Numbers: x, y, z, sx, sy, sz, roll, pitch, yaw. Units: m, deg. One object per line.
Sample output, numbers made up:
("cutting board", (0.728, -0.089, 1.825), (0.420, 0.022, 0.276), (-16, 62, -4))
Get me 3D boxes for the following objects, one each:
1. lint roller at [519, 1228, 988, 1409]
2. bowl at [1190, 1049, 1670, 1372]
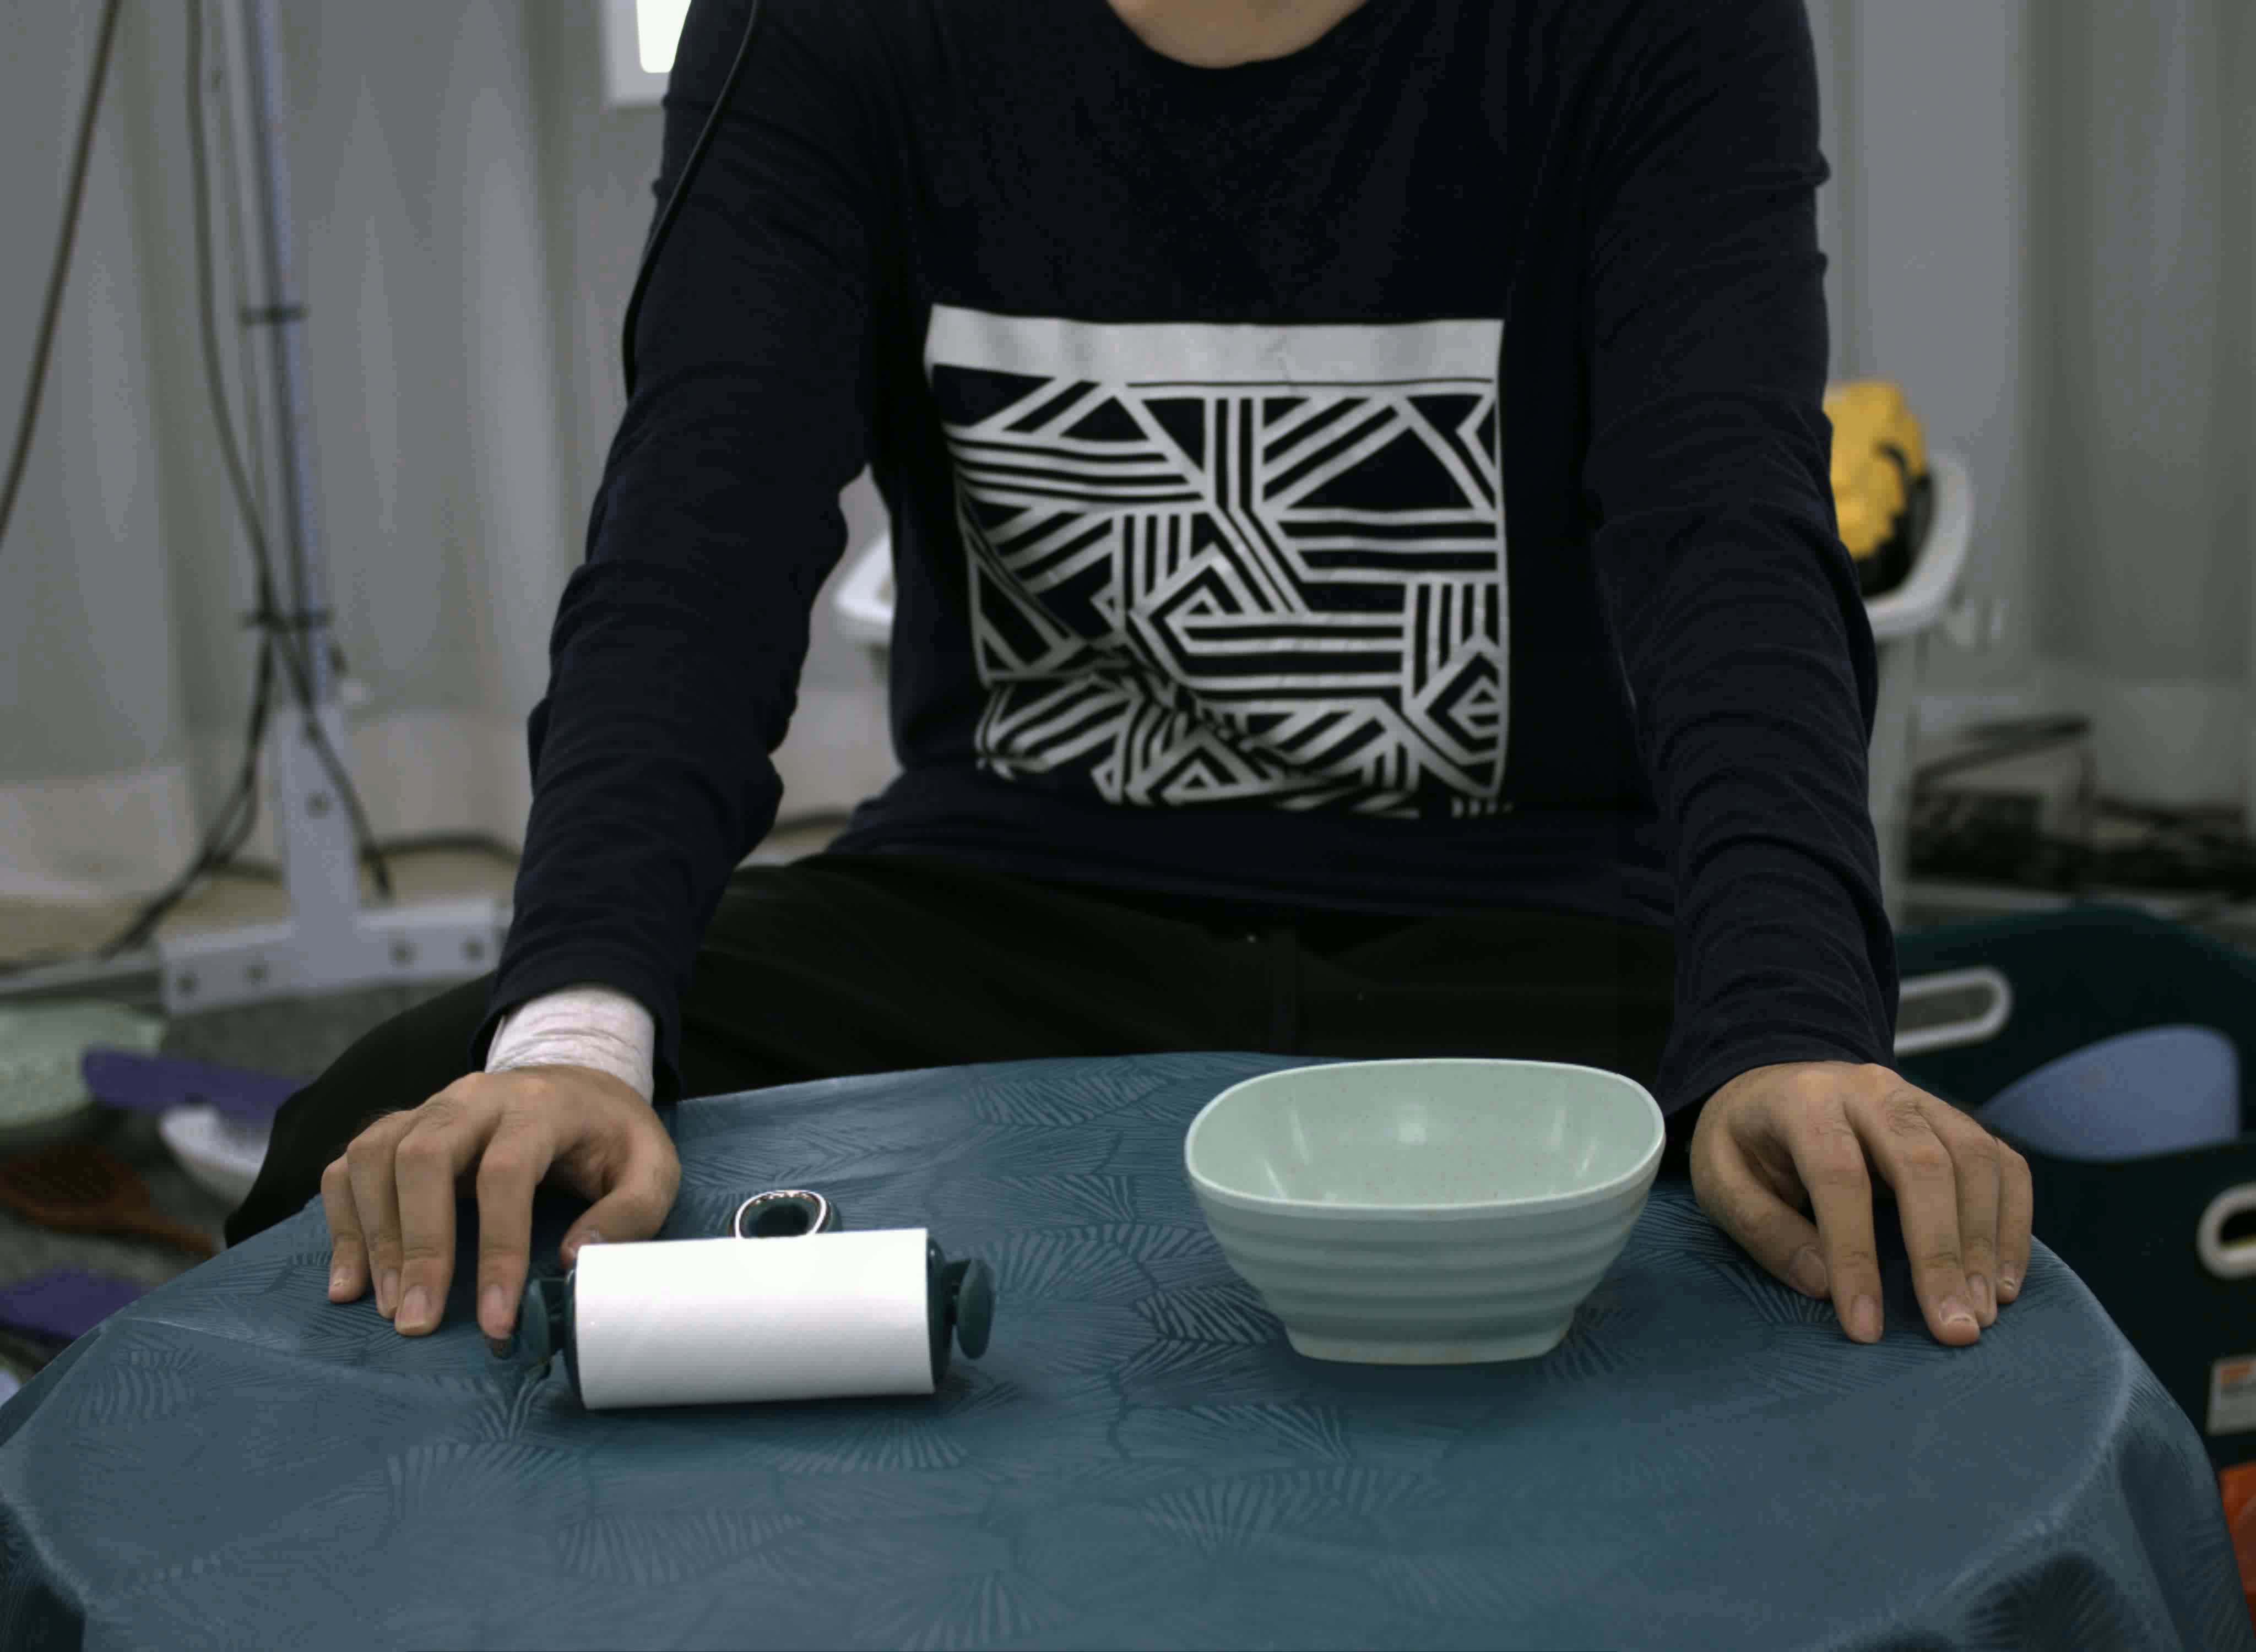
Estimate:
("lint roller", (-0.107, 0.127, 1.616), (0.134, 0.048, 0.181), (-3, 11, 0))
("bowl", (0.089, 0.115, 1.588), (0.151, 0.058, 0.152), (-4, 17, 1))
